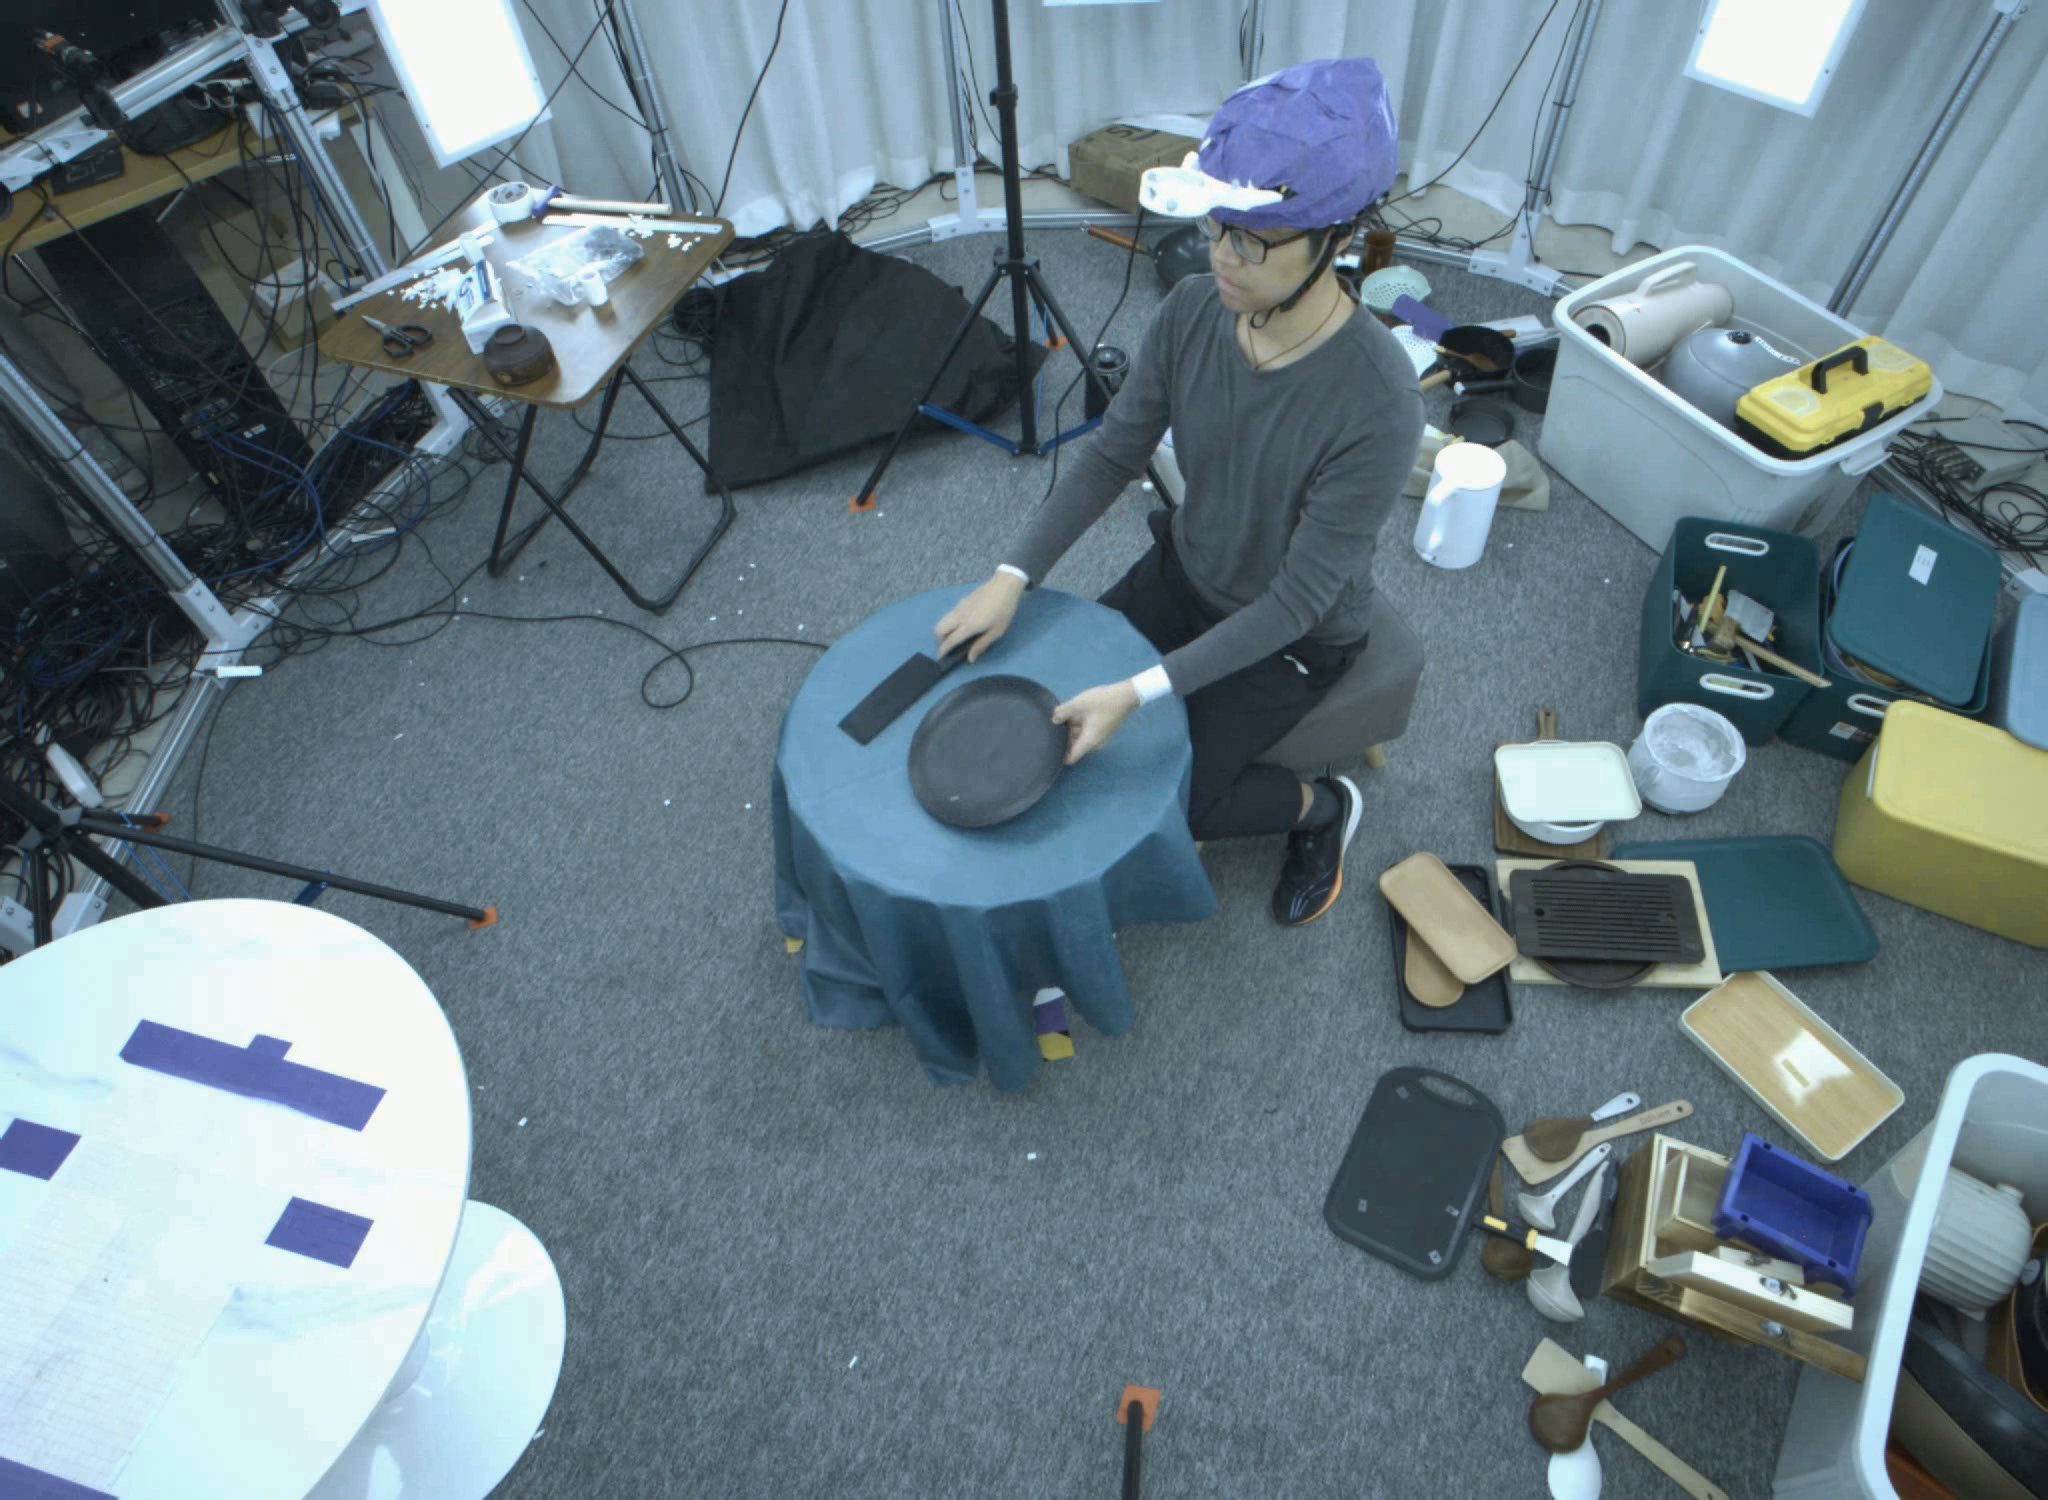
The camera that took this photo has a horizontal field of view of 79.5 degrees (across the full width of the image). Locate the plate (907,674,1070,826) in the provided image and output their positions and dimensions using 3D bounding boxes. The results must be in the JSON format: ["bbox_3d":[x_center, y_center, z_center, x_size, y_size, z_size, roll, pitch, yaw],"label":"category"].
[{"bbox_3d":[-0.050,0.001,1.752,0.242,0.024,0.242,-7,61,14],"label":"plate"}]

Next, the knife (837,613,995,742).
[{"bbox_3d":[-0.159,-0.118,1.875,0.304,0.021,0.079,-40,59,-22],"label":"knife"}]
